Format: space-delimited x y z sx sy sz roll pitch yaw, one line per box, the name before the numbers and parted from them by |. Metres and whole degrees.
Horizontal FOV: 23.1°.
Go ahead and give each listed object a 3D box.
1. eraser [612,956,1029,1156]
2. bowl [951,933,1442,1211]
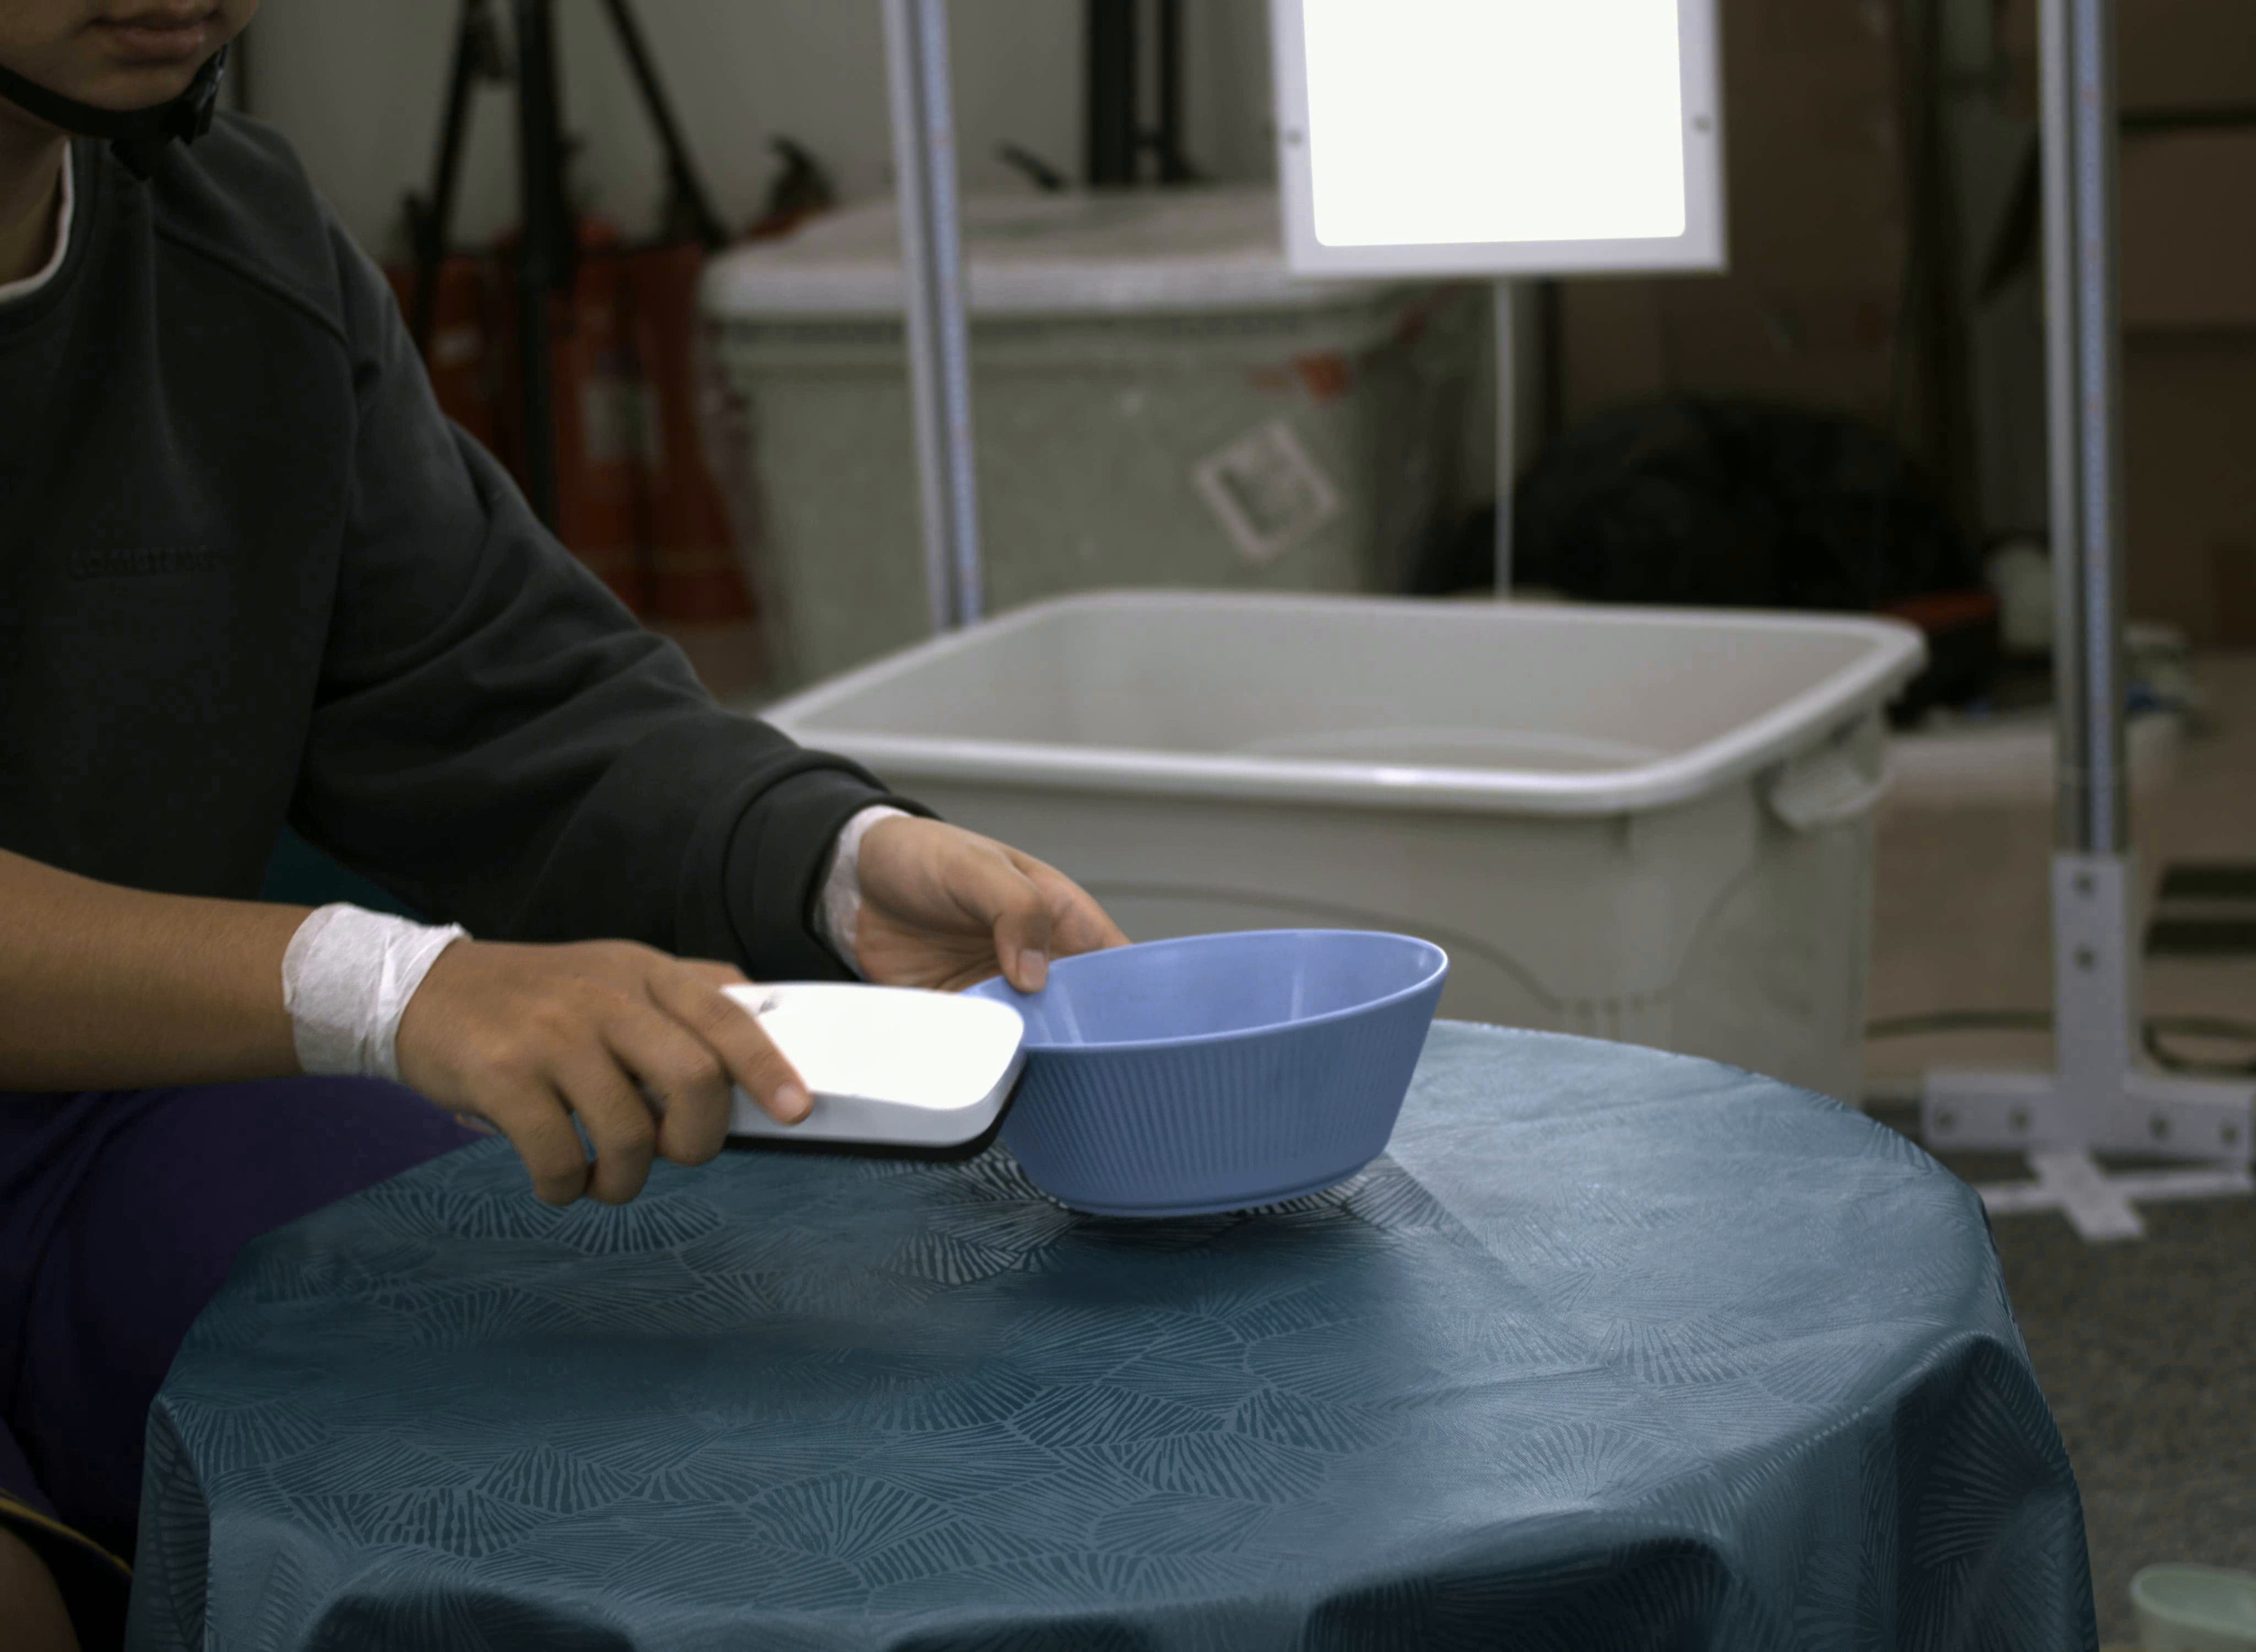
eraser | -0.097 0.074 1.768 0.133 0.034 0.062 4 32 21
bowl | 0.023 0.084 1.863 0.175 0.070 0.176 -7 9 0
